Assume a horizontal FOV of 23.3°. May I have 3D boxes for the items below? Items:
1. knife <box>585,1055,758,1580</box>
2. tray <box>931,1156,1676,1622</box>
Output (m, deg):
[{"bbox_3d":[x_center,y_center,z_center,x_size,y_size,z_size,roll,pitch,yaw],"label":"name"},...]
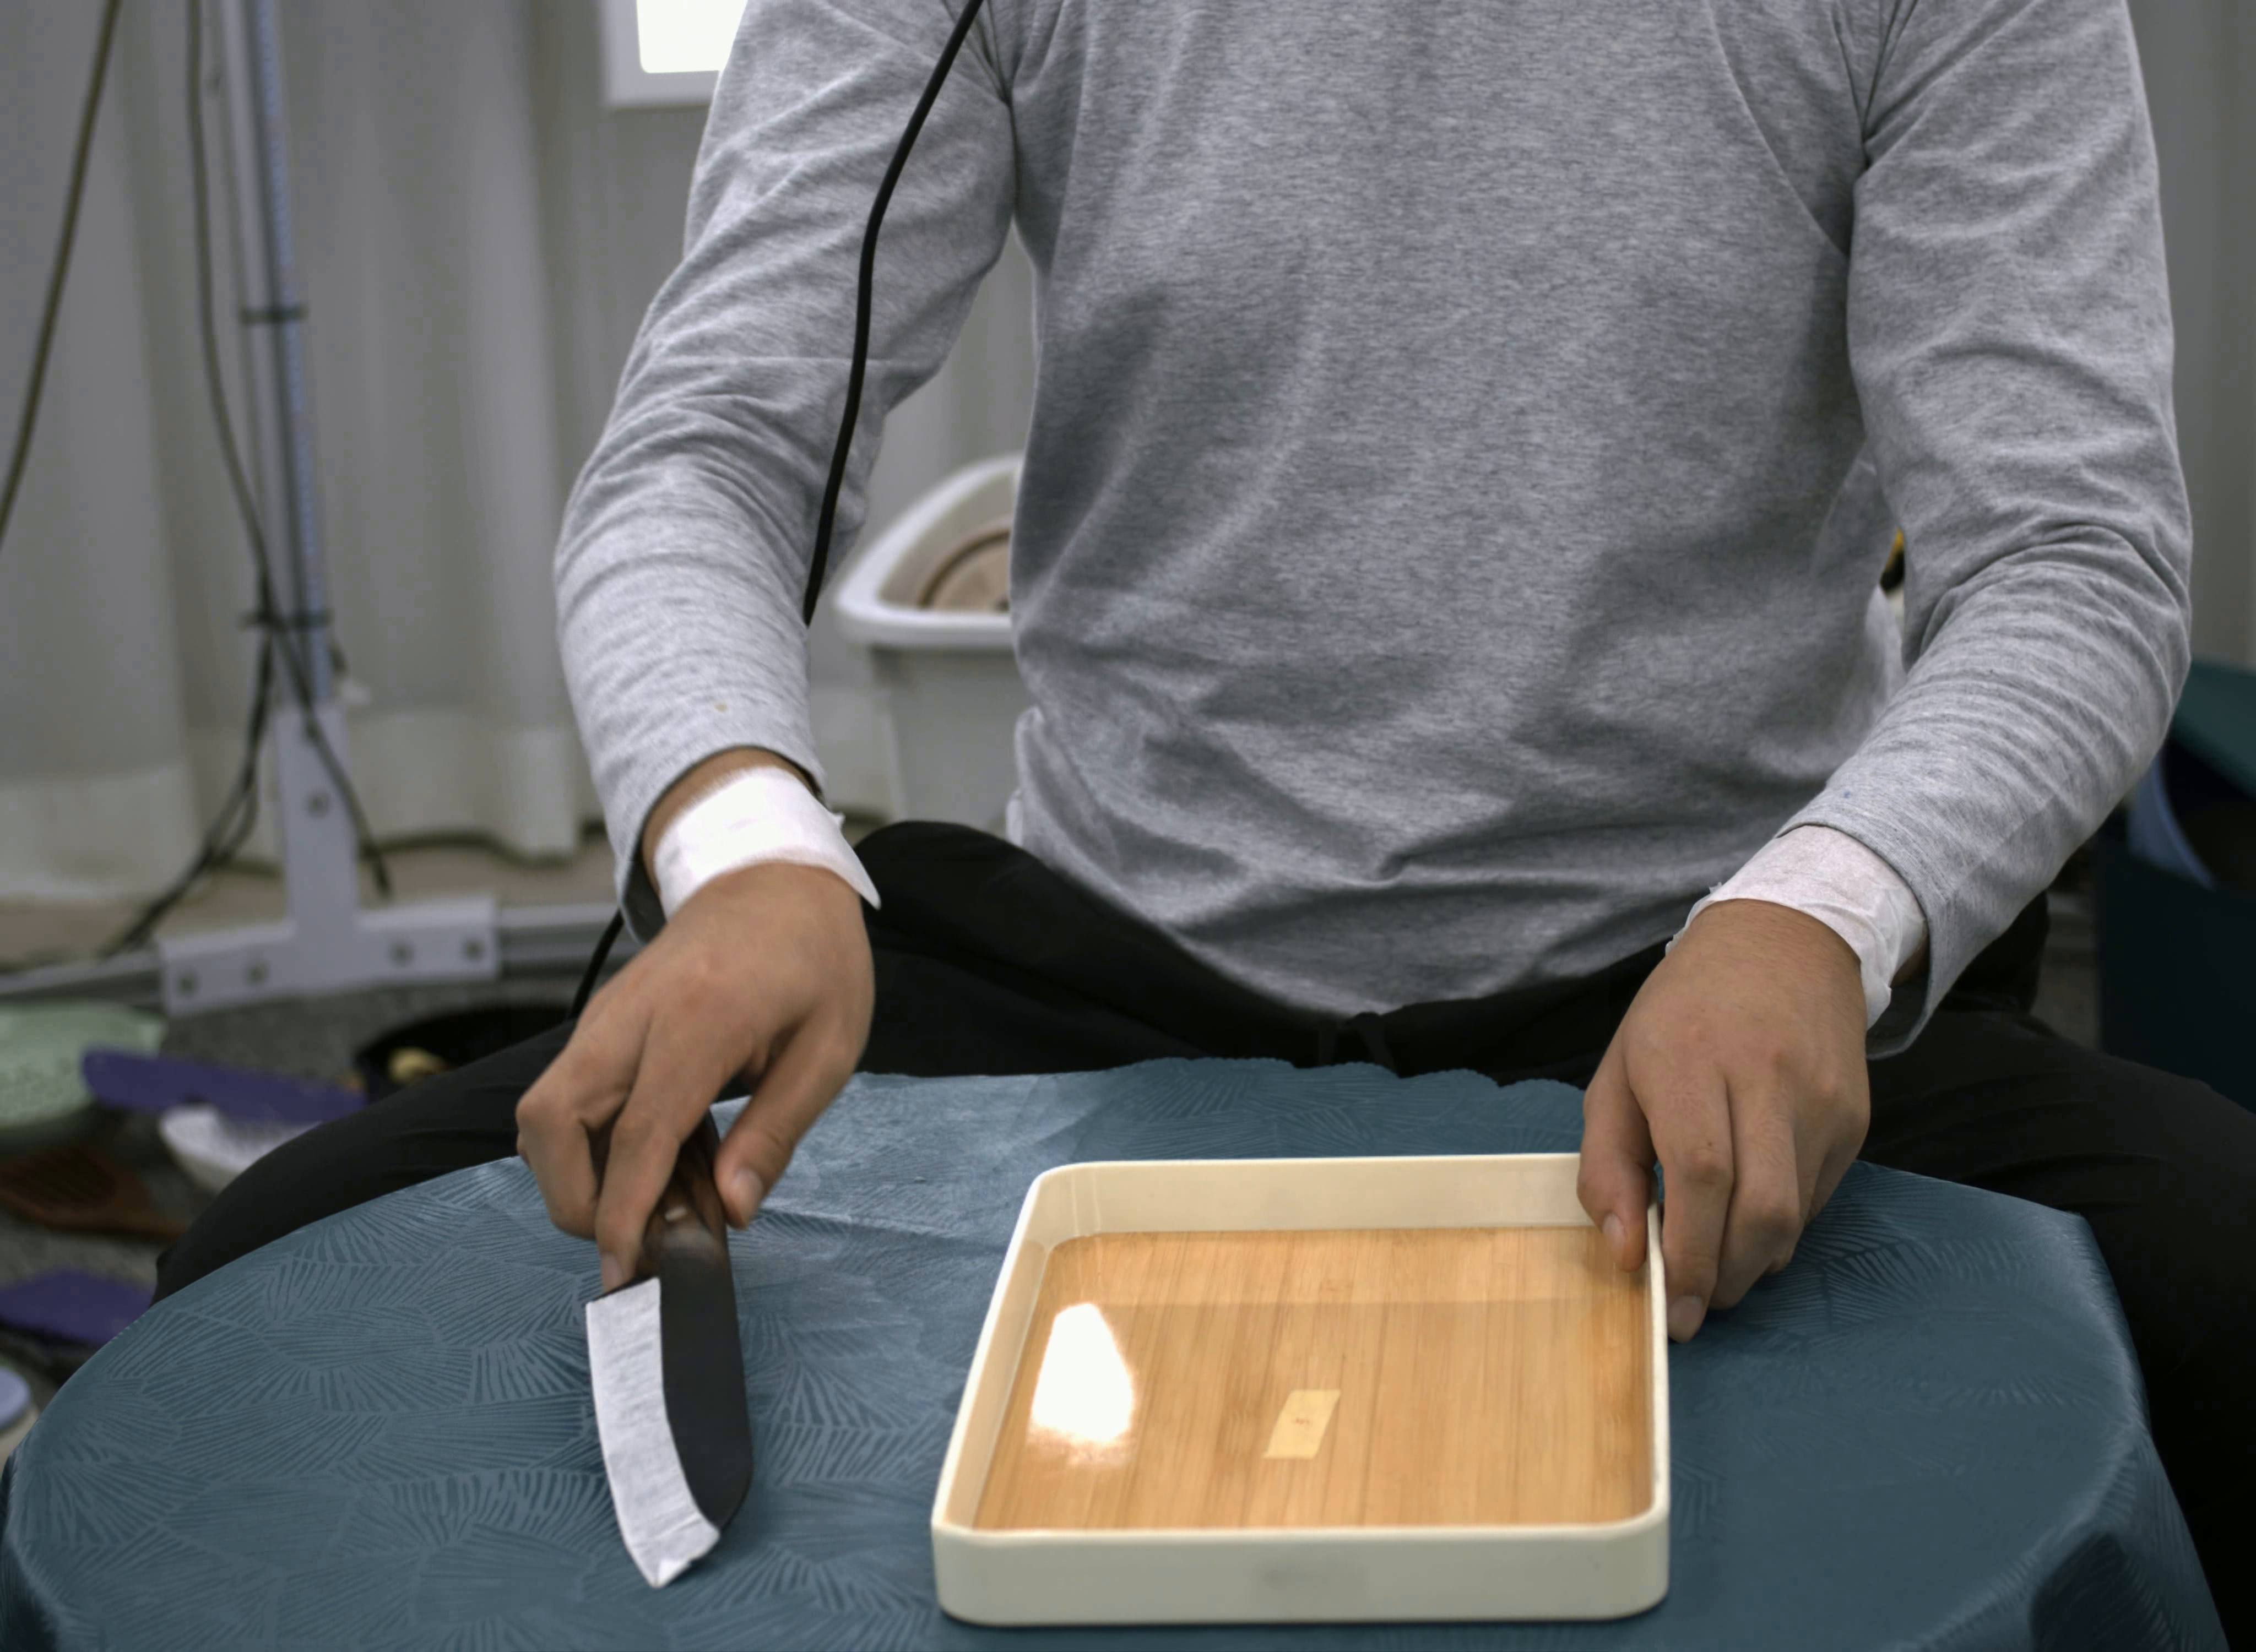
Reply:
[{"bbox_3d":[-0.131,0.137,1.554,0.050,0.020,0.292,-22,24,4],"label":"knife"},{"bbox_3d":[0.055,0.152,1.516,0.191,0.027,0.302,-1,15,5],"label":"tray"}]
